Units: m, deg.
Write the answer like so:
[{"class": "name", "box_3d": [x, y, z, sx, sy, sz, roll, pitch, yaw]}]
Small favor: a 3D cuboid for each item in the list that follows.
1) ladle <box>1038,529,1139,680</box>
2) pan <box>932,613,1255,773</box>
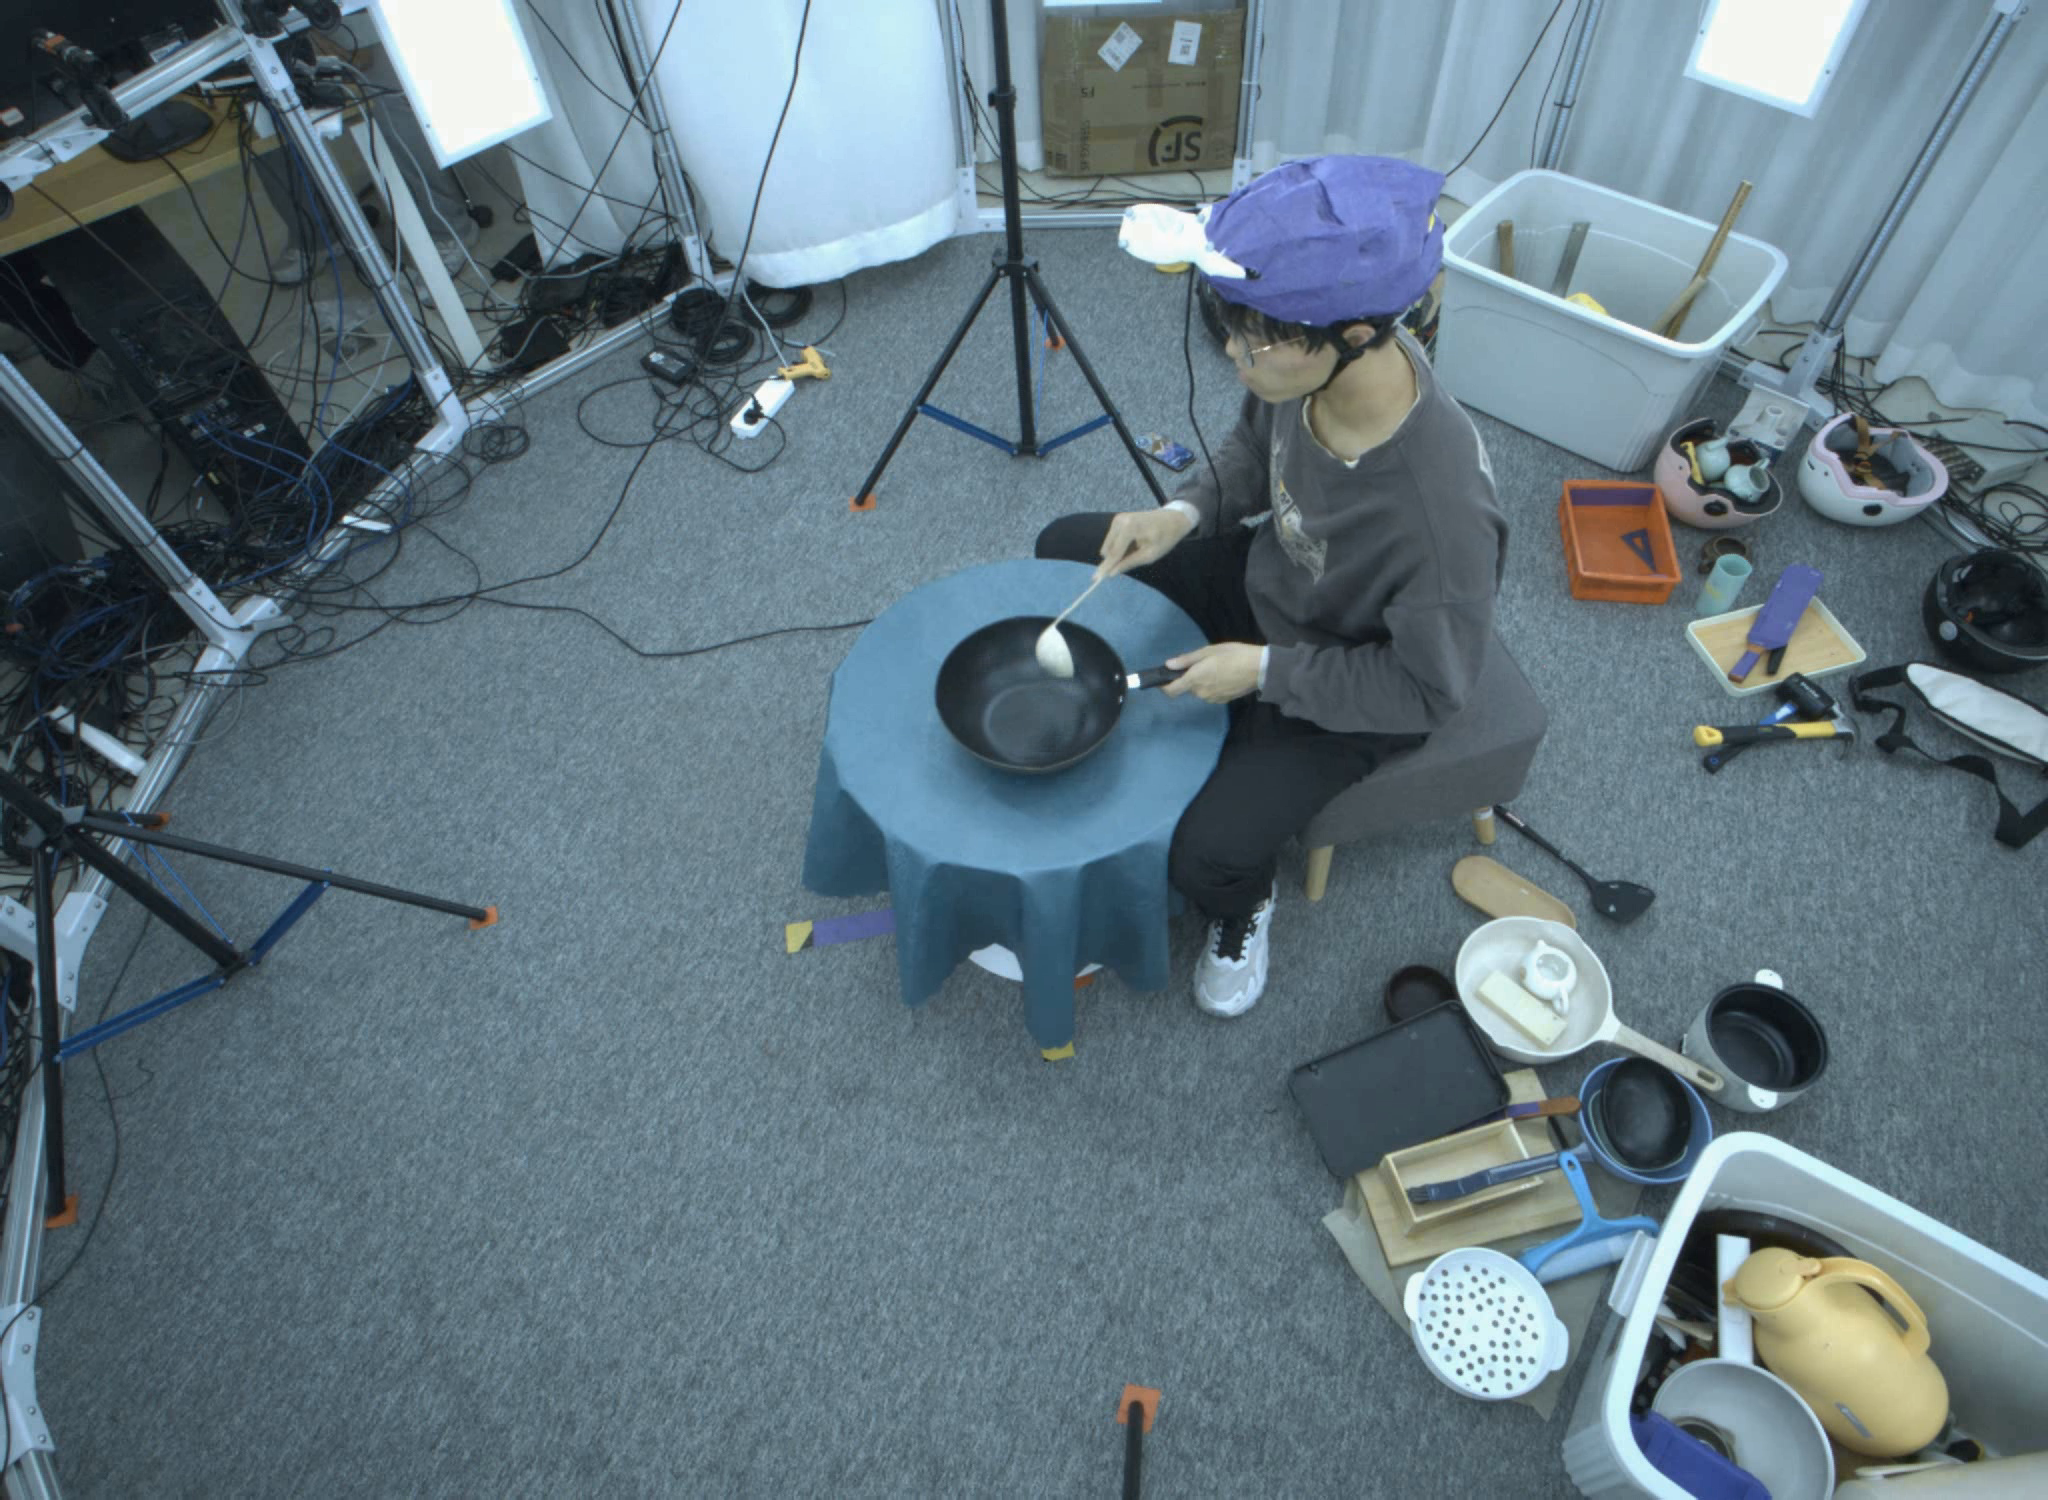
[{"class": "ladle", "box_3d": [0.114, -0.207, 1.763, 0.073, 0.072, 0.255, 41, 75, 0]}, {"class": "pan", "box_3d": [0.101, -0.079, 1.787, 0.465, 0.088, 0.284, -6, 54, -4]}]
